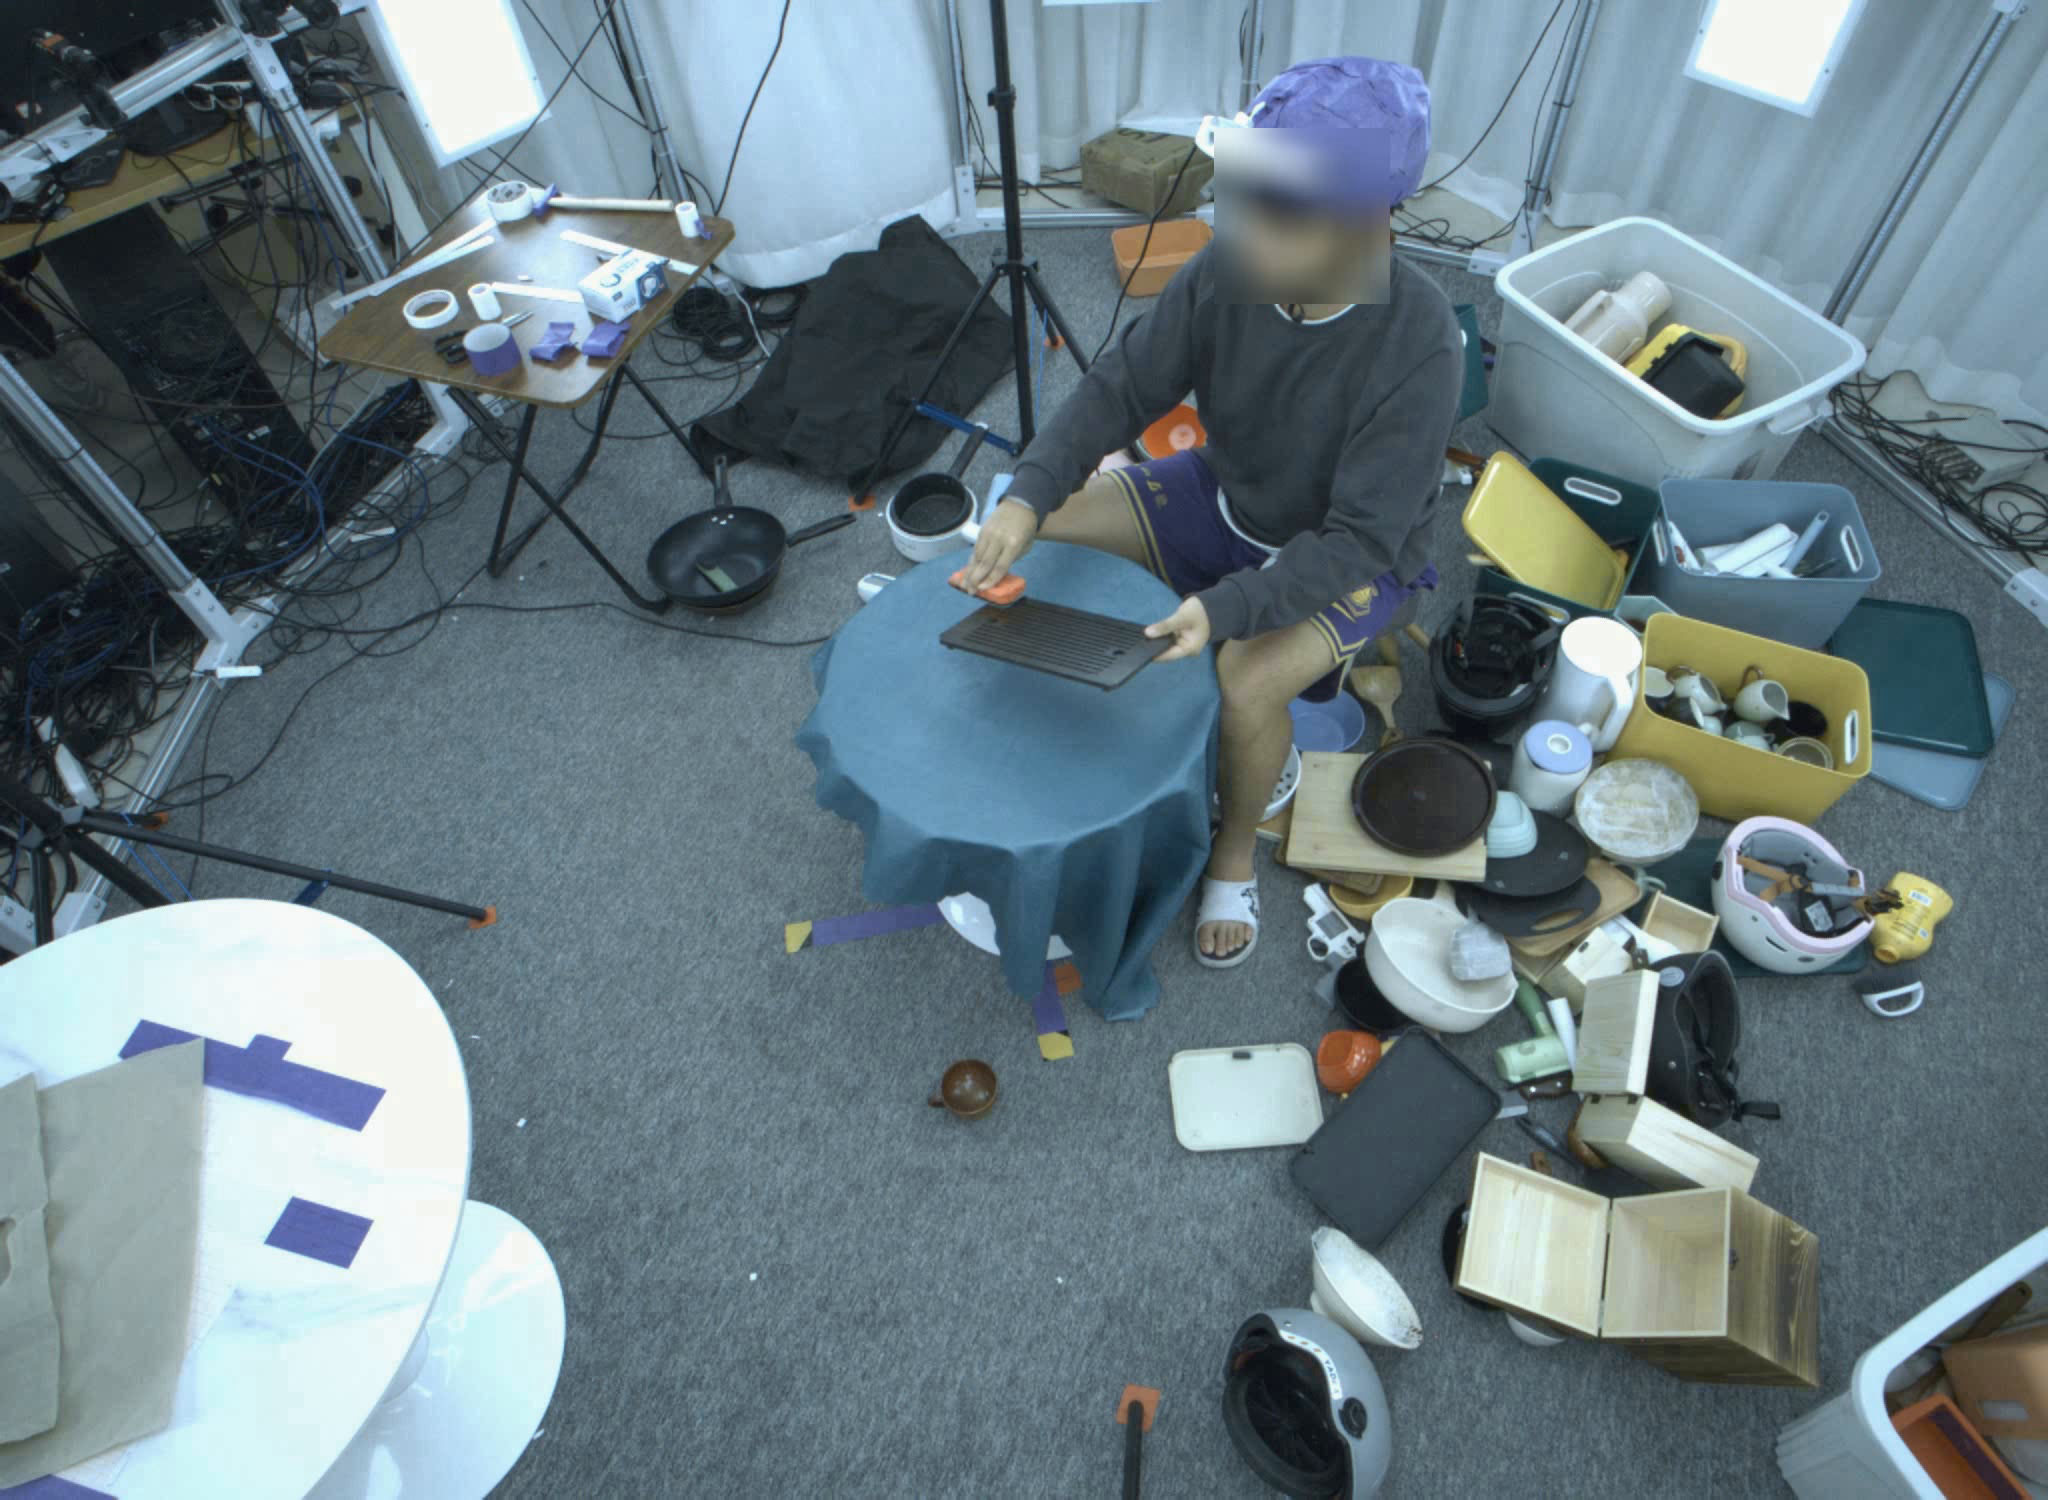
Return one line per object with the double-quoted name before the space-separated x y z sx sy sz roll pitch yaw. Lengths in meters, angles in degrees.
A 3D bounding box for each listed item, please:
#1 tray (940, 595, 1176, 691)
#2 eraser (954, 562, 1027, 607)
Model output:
"tray" 0.046 -0.156 1.738 0.299 0.019 0.172 17 39 31
"eraser" -0.051 -0.251 1.848 0.105 0.023 0.059 25 50 35
